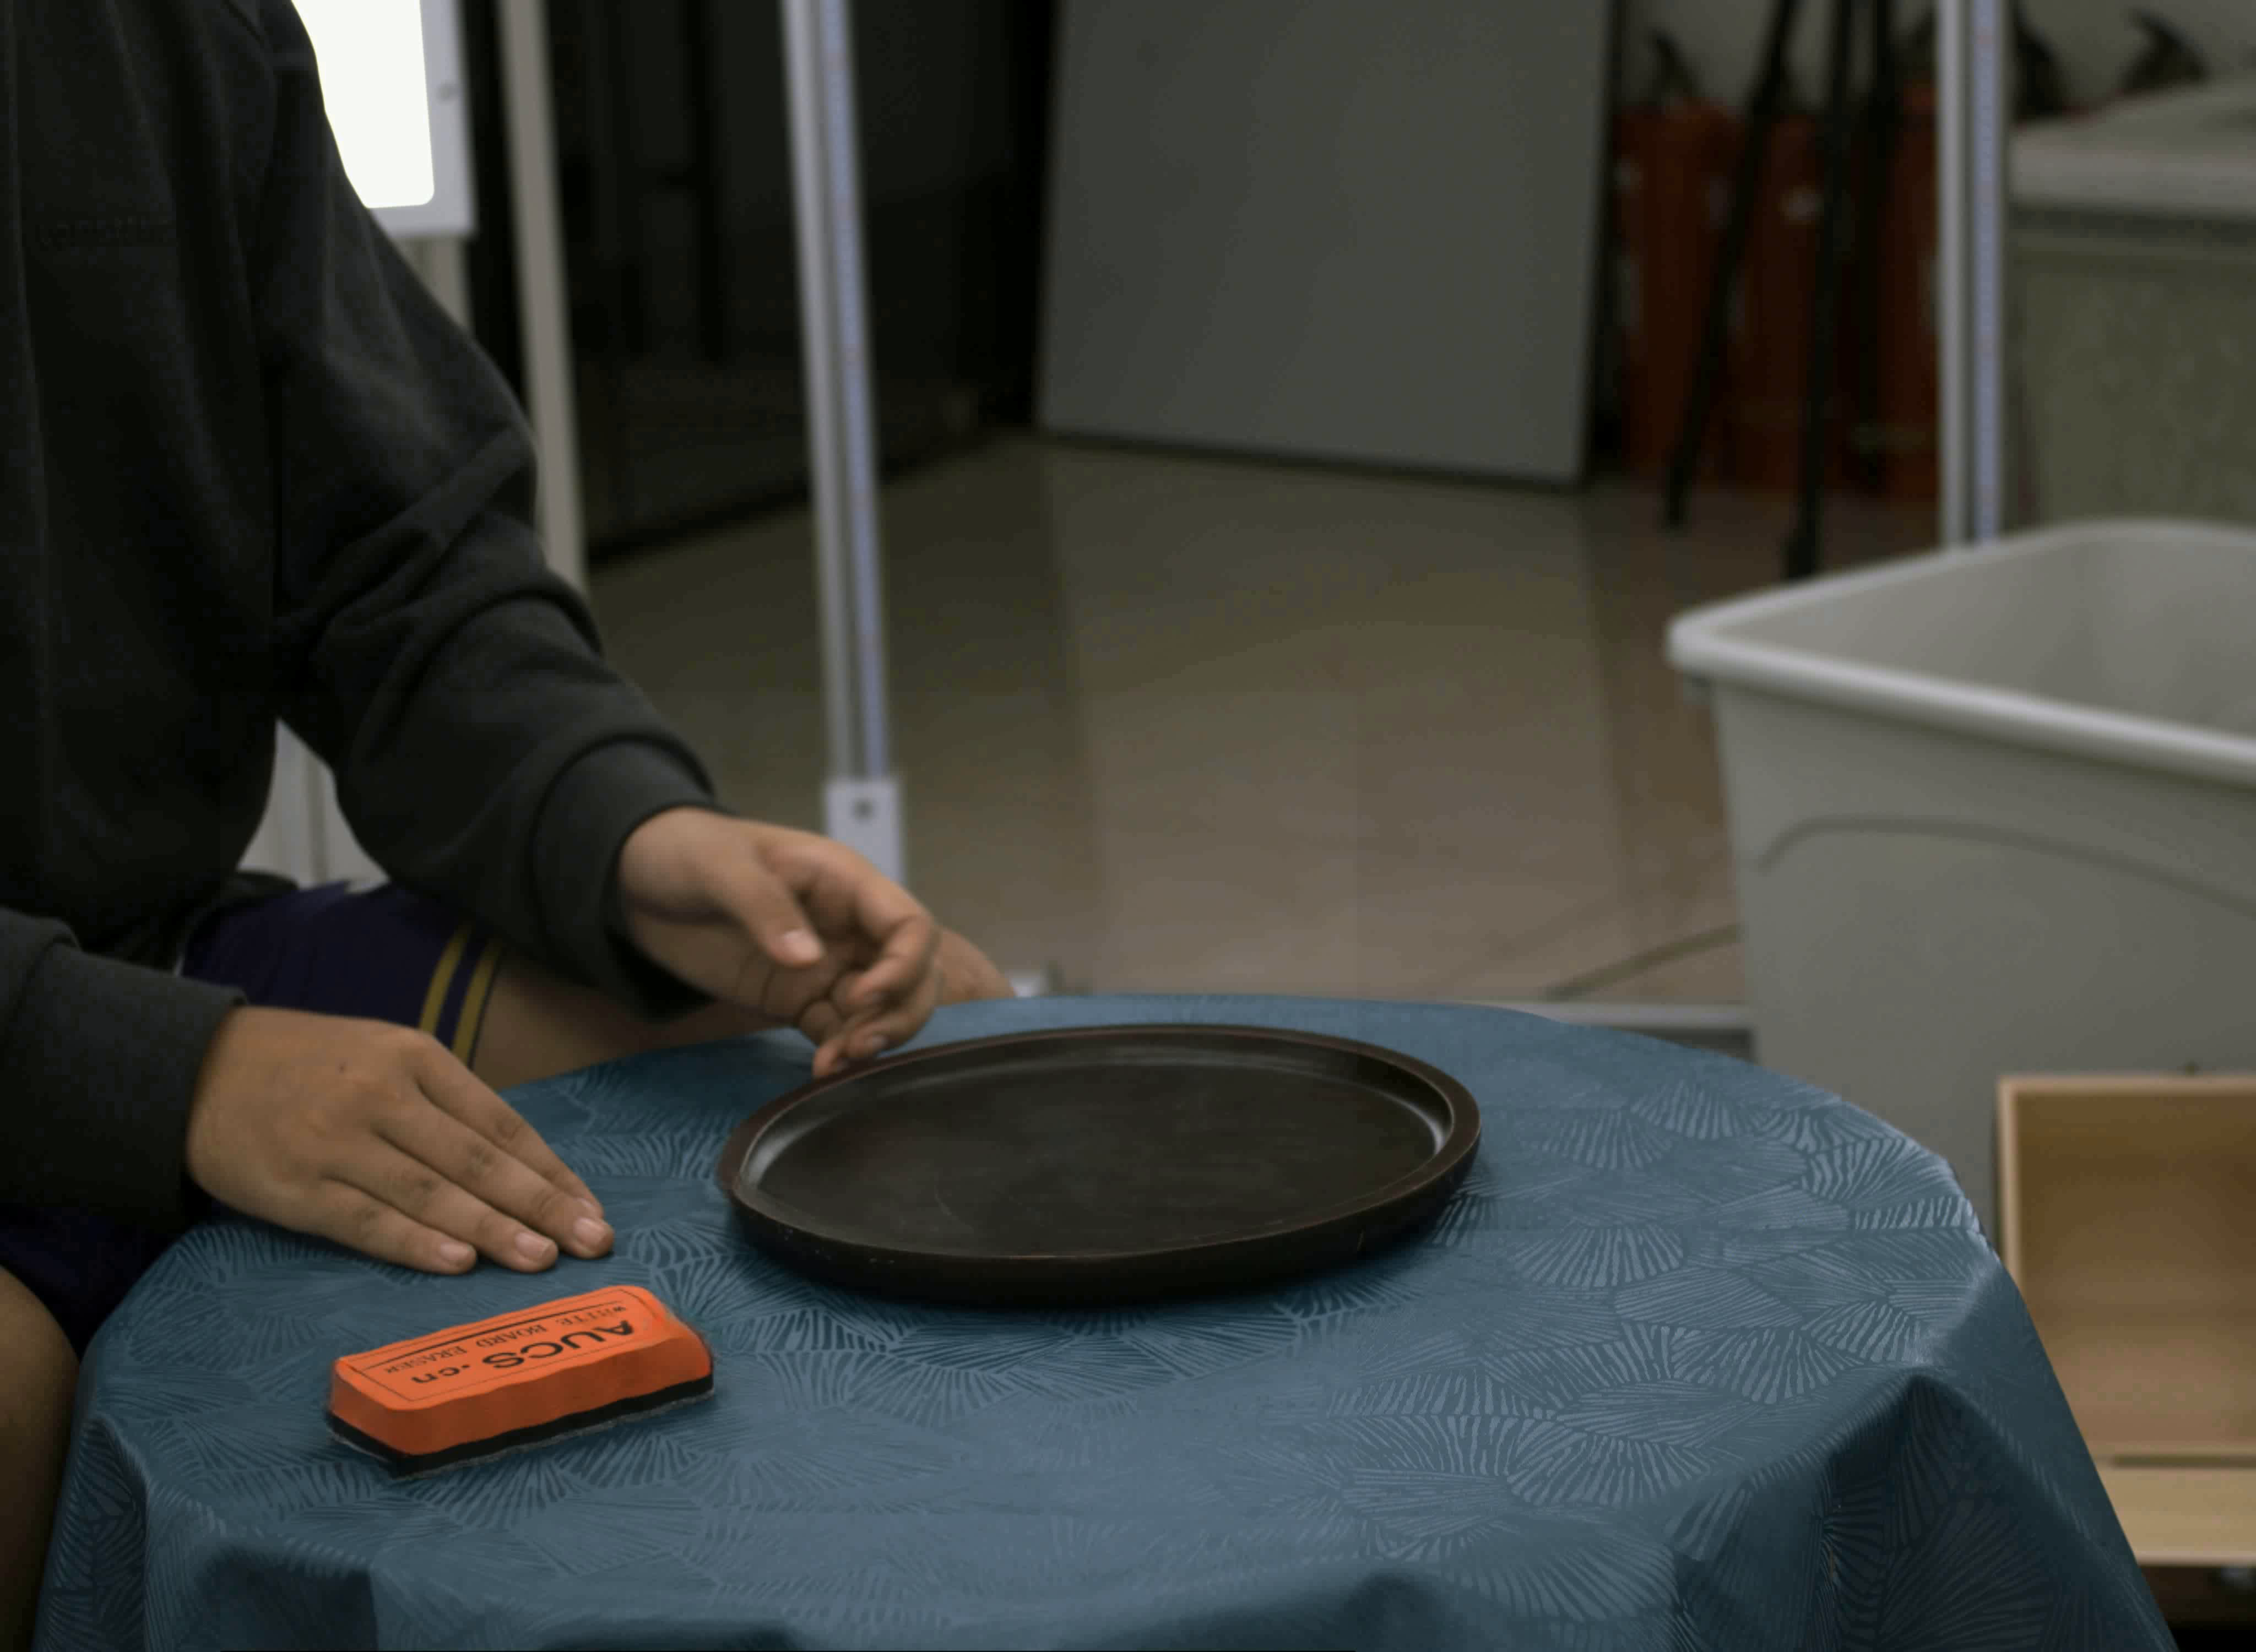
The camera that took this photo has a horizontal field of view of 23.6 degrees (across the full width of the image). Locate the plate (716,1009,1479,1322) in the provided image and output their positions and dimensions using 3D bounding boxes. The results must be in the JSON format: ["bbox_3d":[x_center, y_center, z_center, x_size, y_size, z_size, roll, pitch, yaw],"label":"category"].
[{"bbox_3d":[-0.009,0.112,1.764,0.251,0.029,0.255,-5,15,0],"label":"plate"}]

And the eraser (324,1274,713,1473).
[{"bbox_3d":[-0.179,0.161,1.594,0.106,0.023,0.059,-14,16,-32],"label":"eraser"}]
